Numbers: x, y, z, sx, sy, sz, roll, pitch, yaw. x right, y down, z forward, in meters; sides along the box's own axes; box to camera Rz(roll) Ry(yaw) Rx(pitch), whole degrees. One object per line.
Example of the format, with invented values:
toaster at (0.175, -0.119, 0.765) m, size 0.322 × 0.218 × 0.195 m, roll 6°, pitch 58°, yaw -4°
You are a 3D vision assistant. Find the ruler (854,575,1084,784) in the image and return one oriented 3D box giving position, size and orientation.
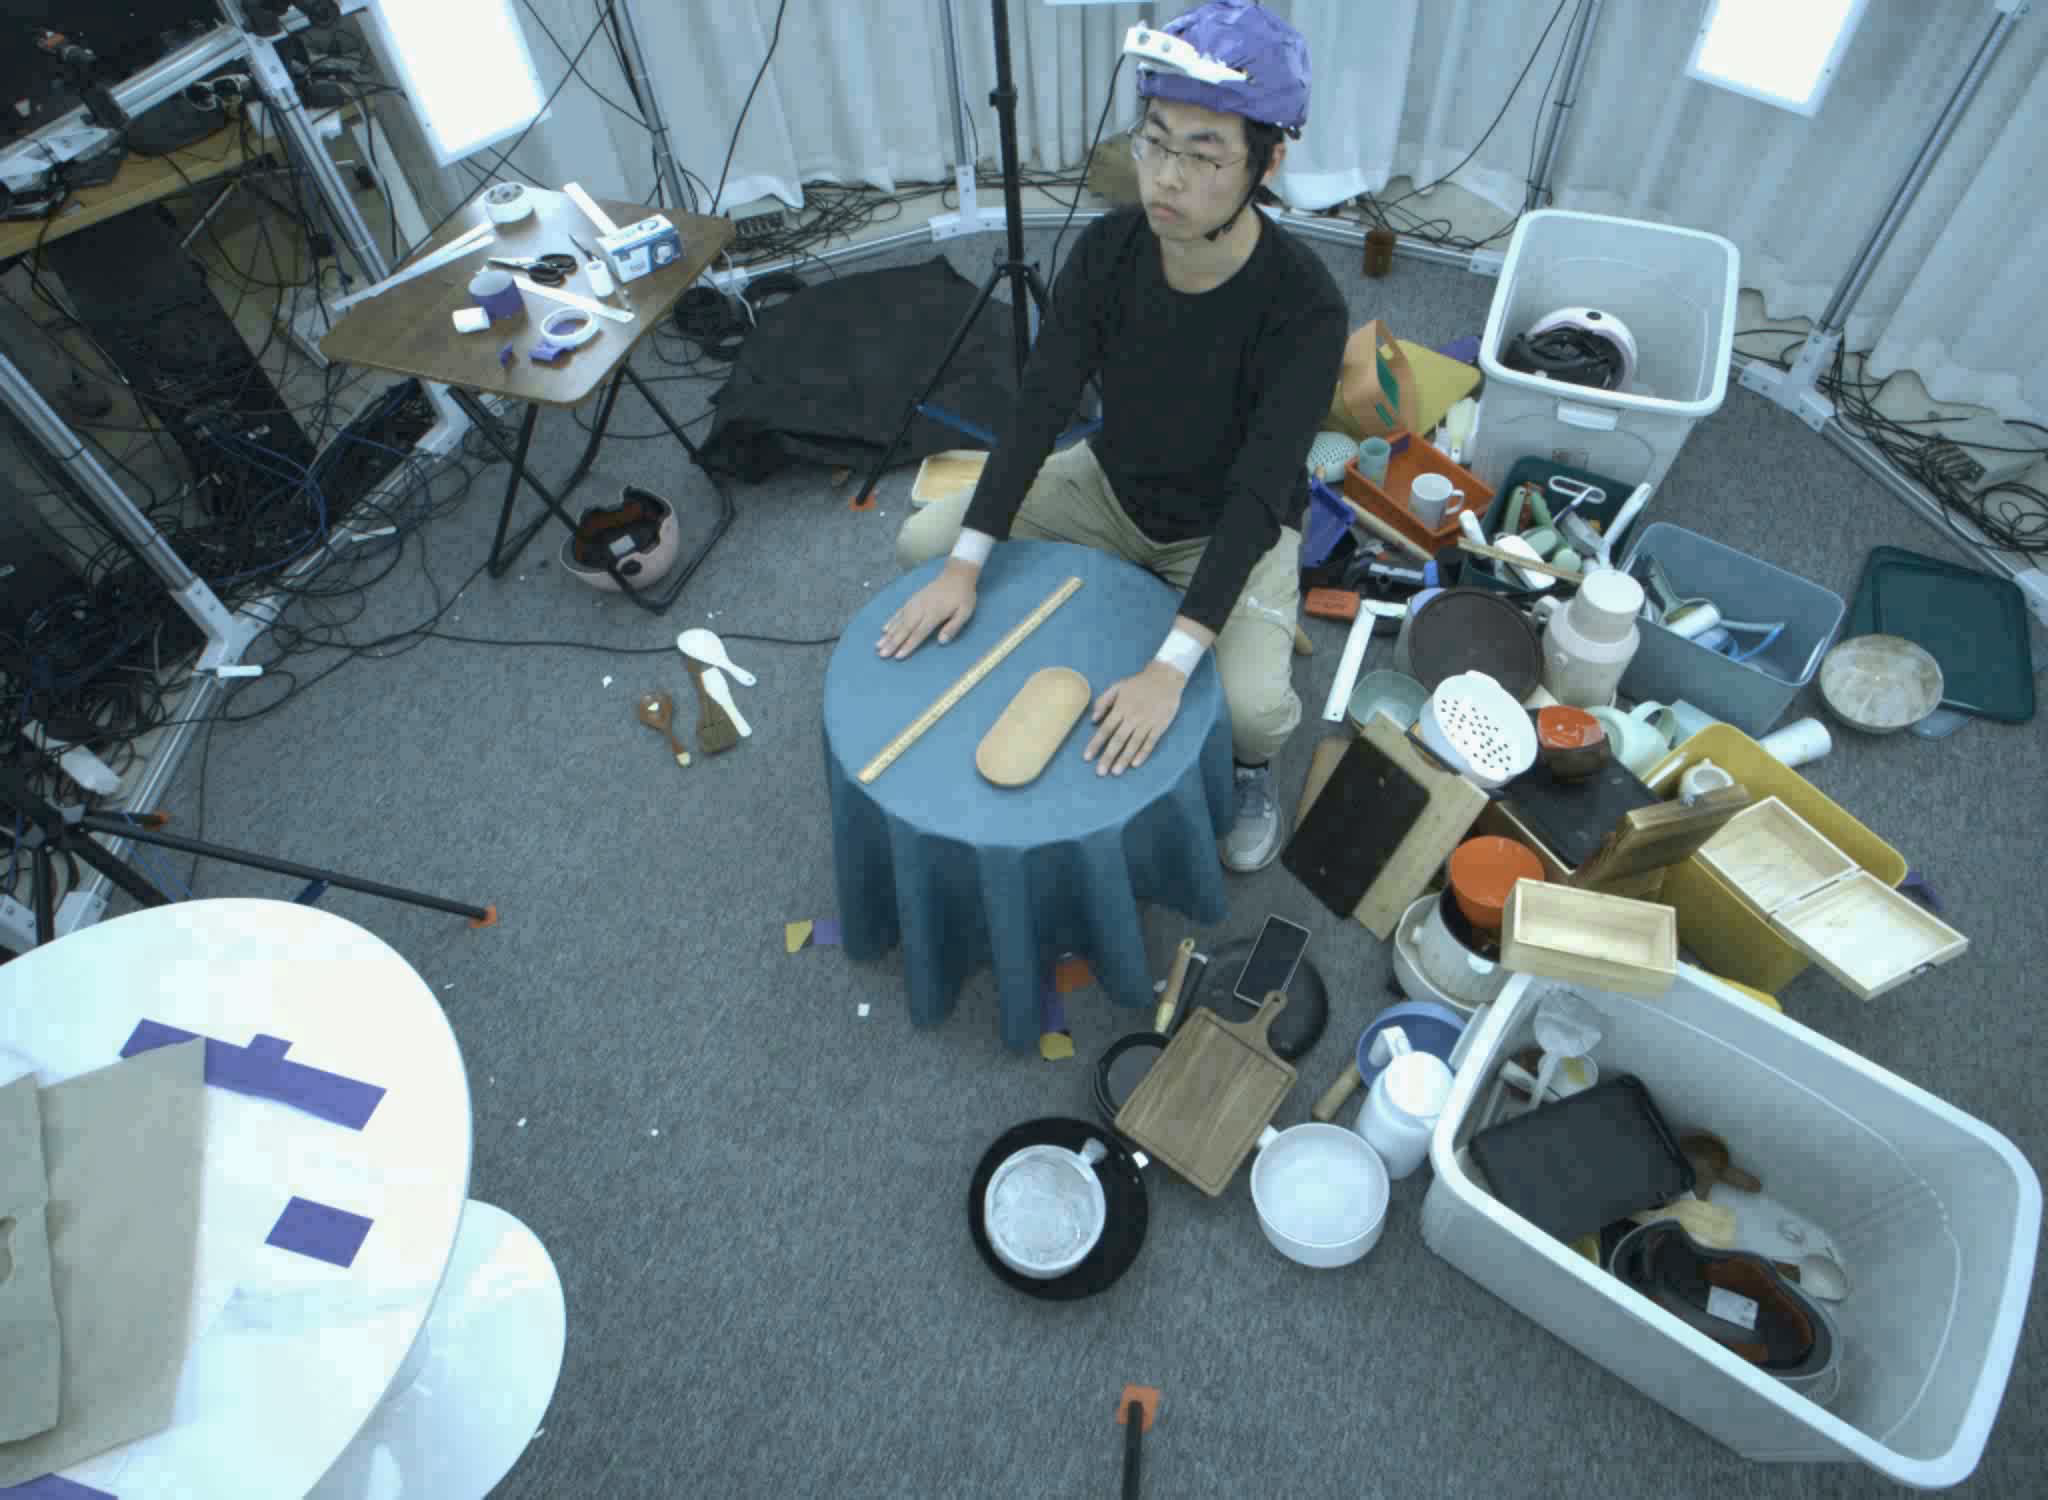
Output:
ruler at (-0.074, -0.116, 1.869) m, size 0.026 × 0.006 × 0.503 m, roll 35°, pitch 63°, yaw 21°

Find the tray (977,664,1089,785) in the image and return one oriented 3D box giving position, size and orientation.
tray at (0.015, -0.039, 1.805) m, size 0.100 × 0.020 × 0.232 m, roll 24°, pitch 57°, yaw 16°
